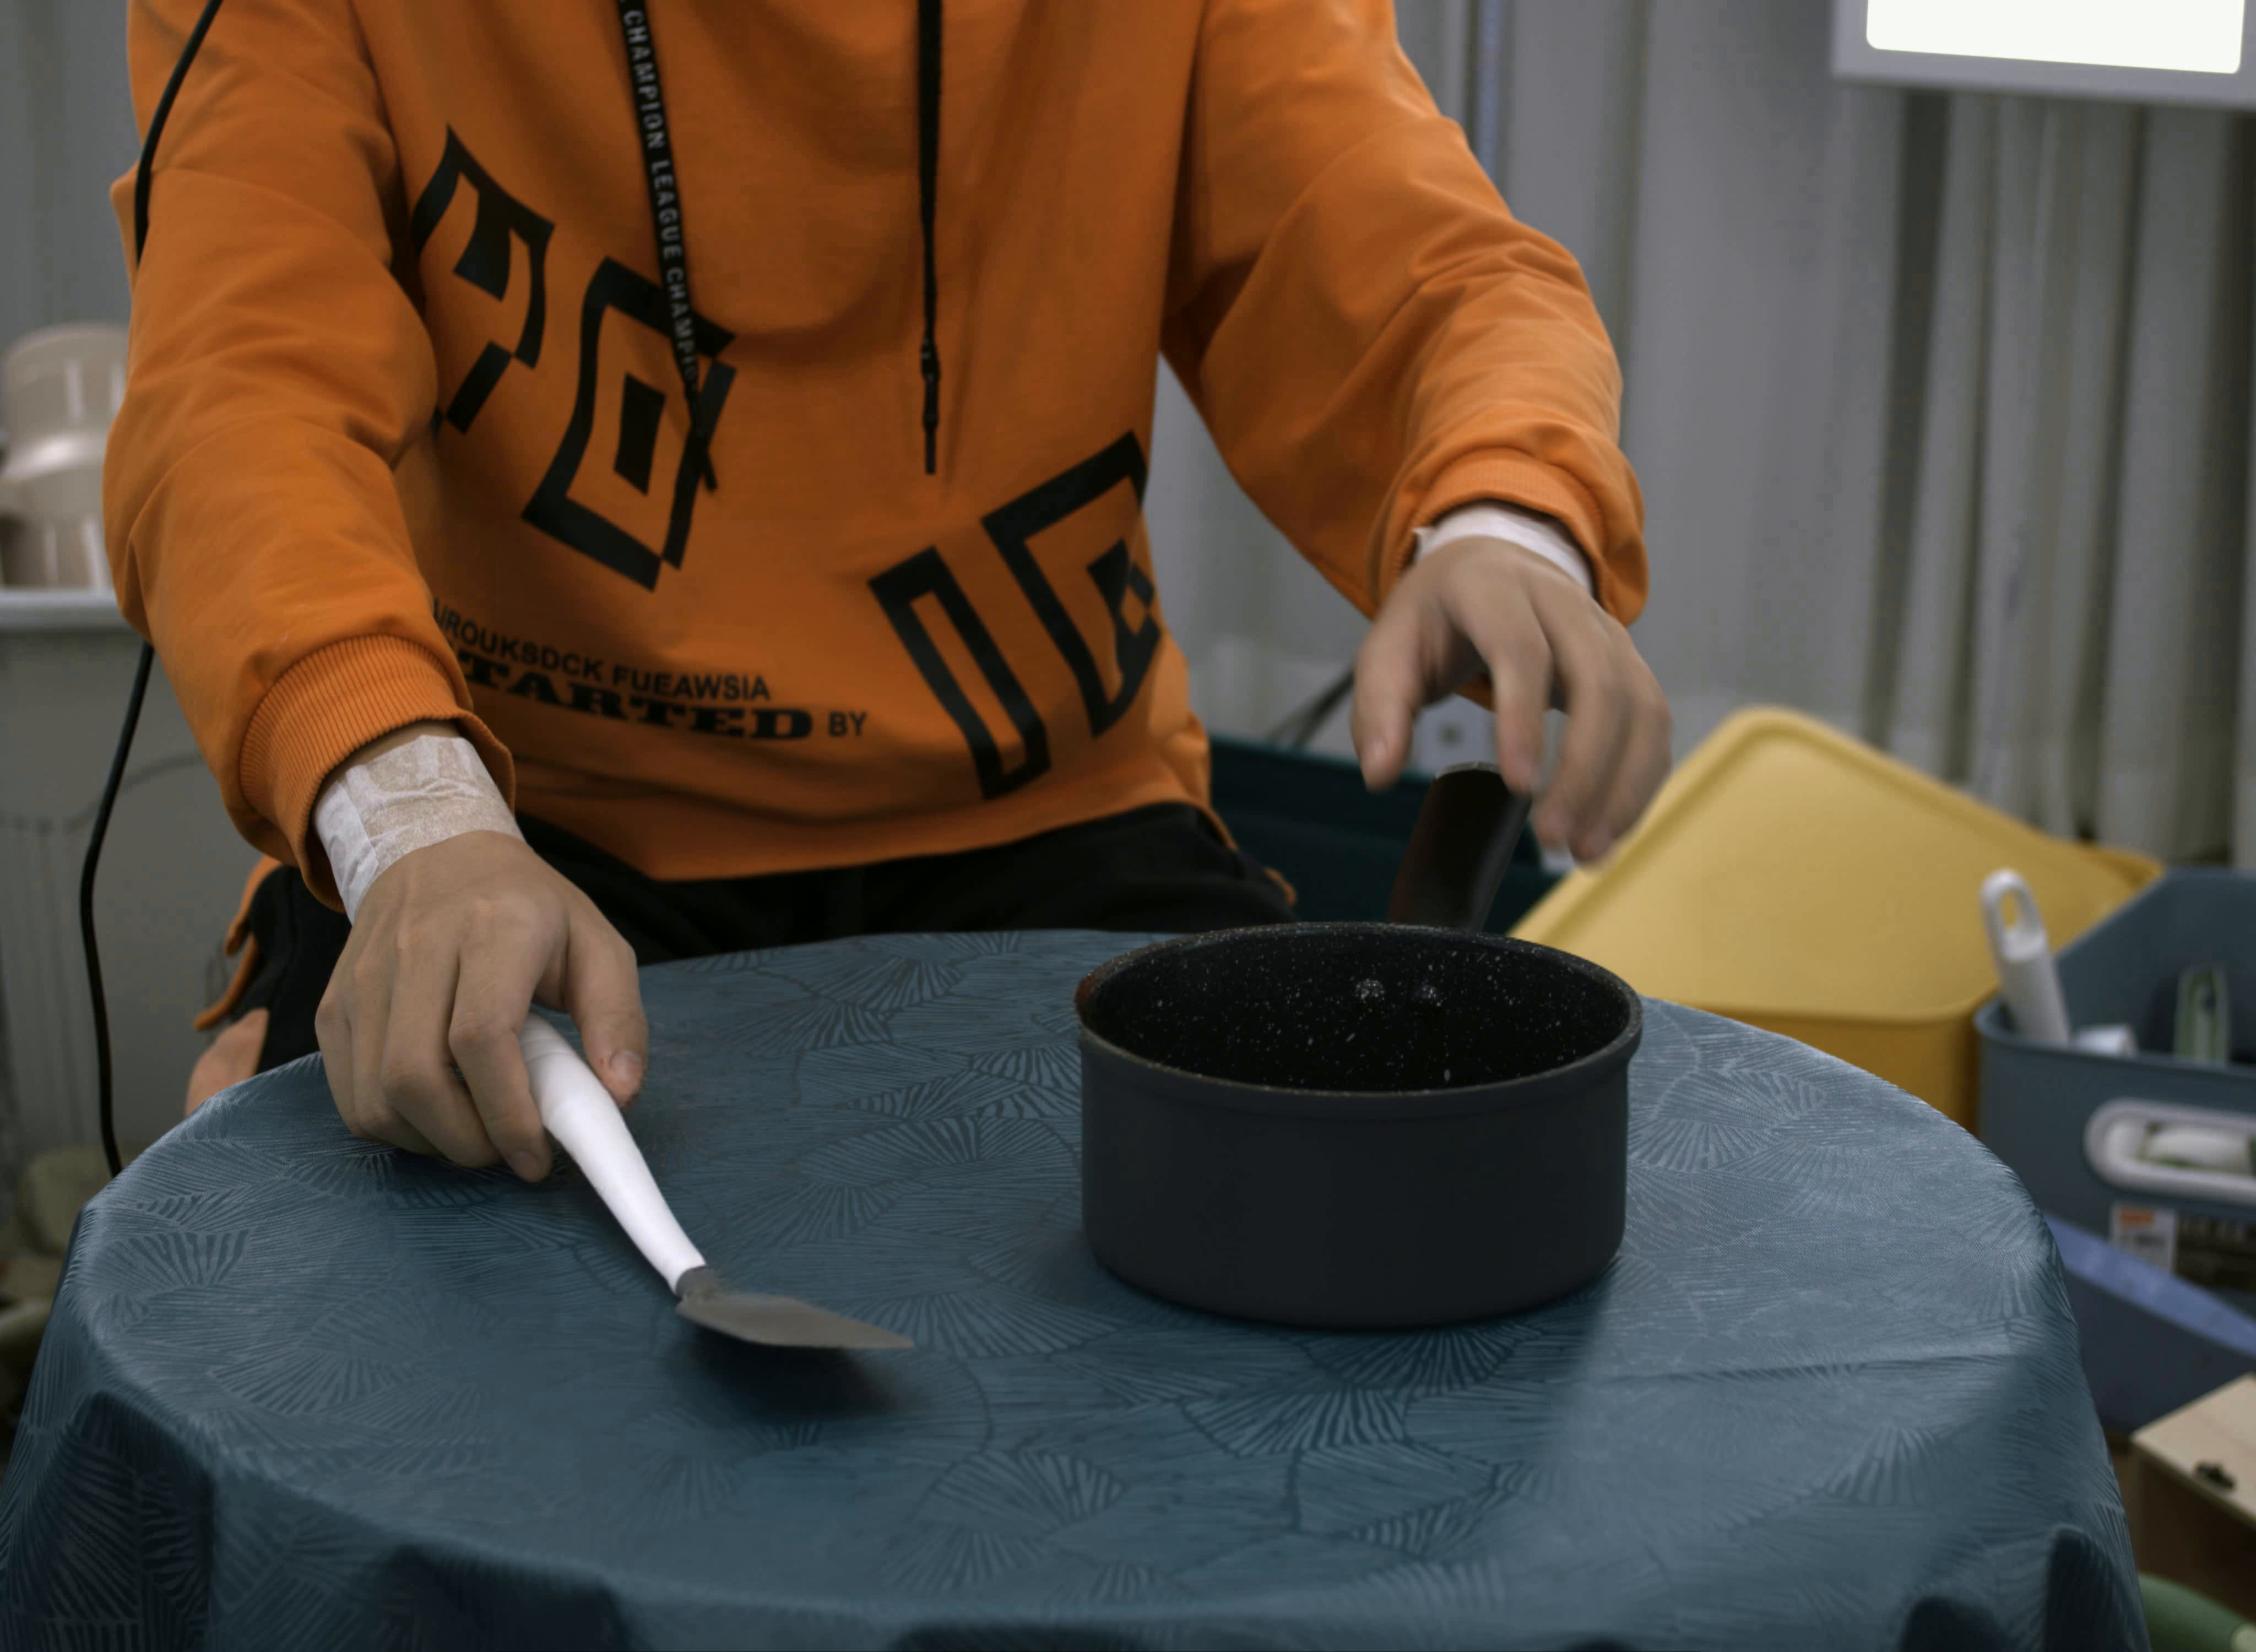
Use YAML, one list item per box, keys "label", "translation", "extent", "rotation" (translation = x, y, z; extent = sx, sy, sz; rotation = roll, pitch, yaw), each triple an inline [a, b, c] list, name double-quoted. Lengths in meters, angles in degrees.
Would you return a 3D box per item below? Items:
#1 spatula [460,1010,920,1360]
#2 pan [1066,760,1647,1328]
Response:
- label: "spatula"
  translation: [-0.138, 0.112, 1.551]
  extent: [0.059, 0.032, 0.284]
  rotation: [9, 12, -28]
- label: "pan"
  translation: [0.088, 0.064, 1.642]
  extent: [0.170, 0.087, 0.328]
  rotation: [6, 18, 14]
